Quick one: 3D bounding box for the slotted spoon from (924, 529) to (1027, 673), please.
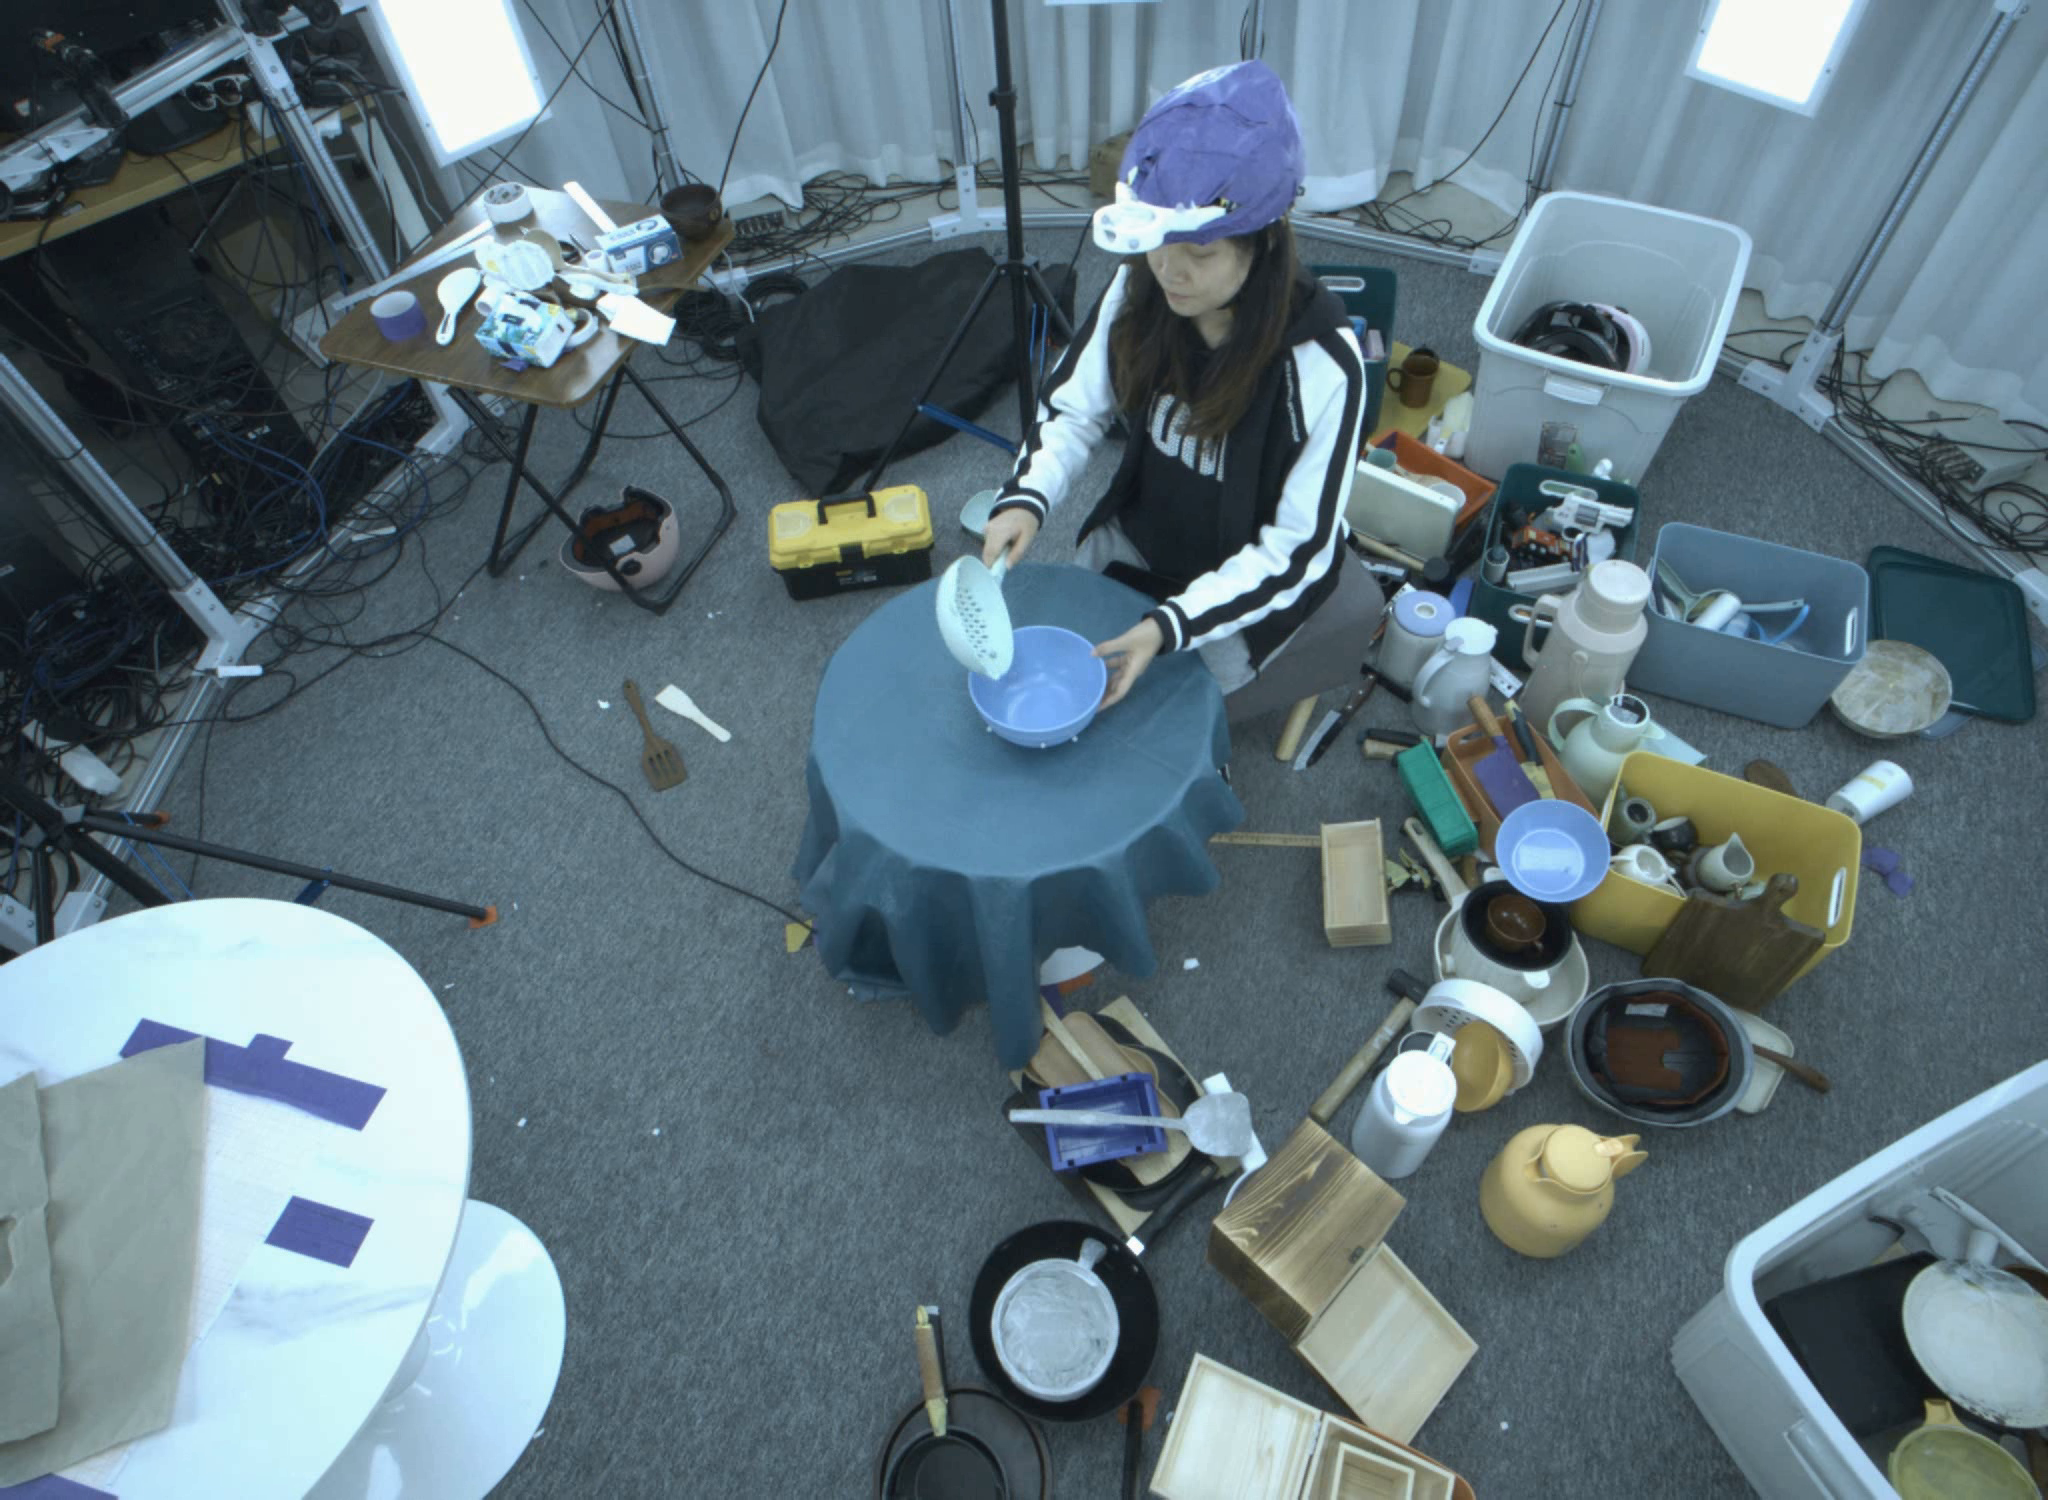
[{"bbox_3d":[-0.047,-0.238,1.765,0.172,0.074,0.358,43,45,-17],"label":"slotted spoon"}]

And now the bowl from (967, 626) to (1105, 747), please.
[{"bbox_3d":[0.020,-0.077,1.783,0.196,0.096,0.194,-1,54,2],"label":"bowl"}]
